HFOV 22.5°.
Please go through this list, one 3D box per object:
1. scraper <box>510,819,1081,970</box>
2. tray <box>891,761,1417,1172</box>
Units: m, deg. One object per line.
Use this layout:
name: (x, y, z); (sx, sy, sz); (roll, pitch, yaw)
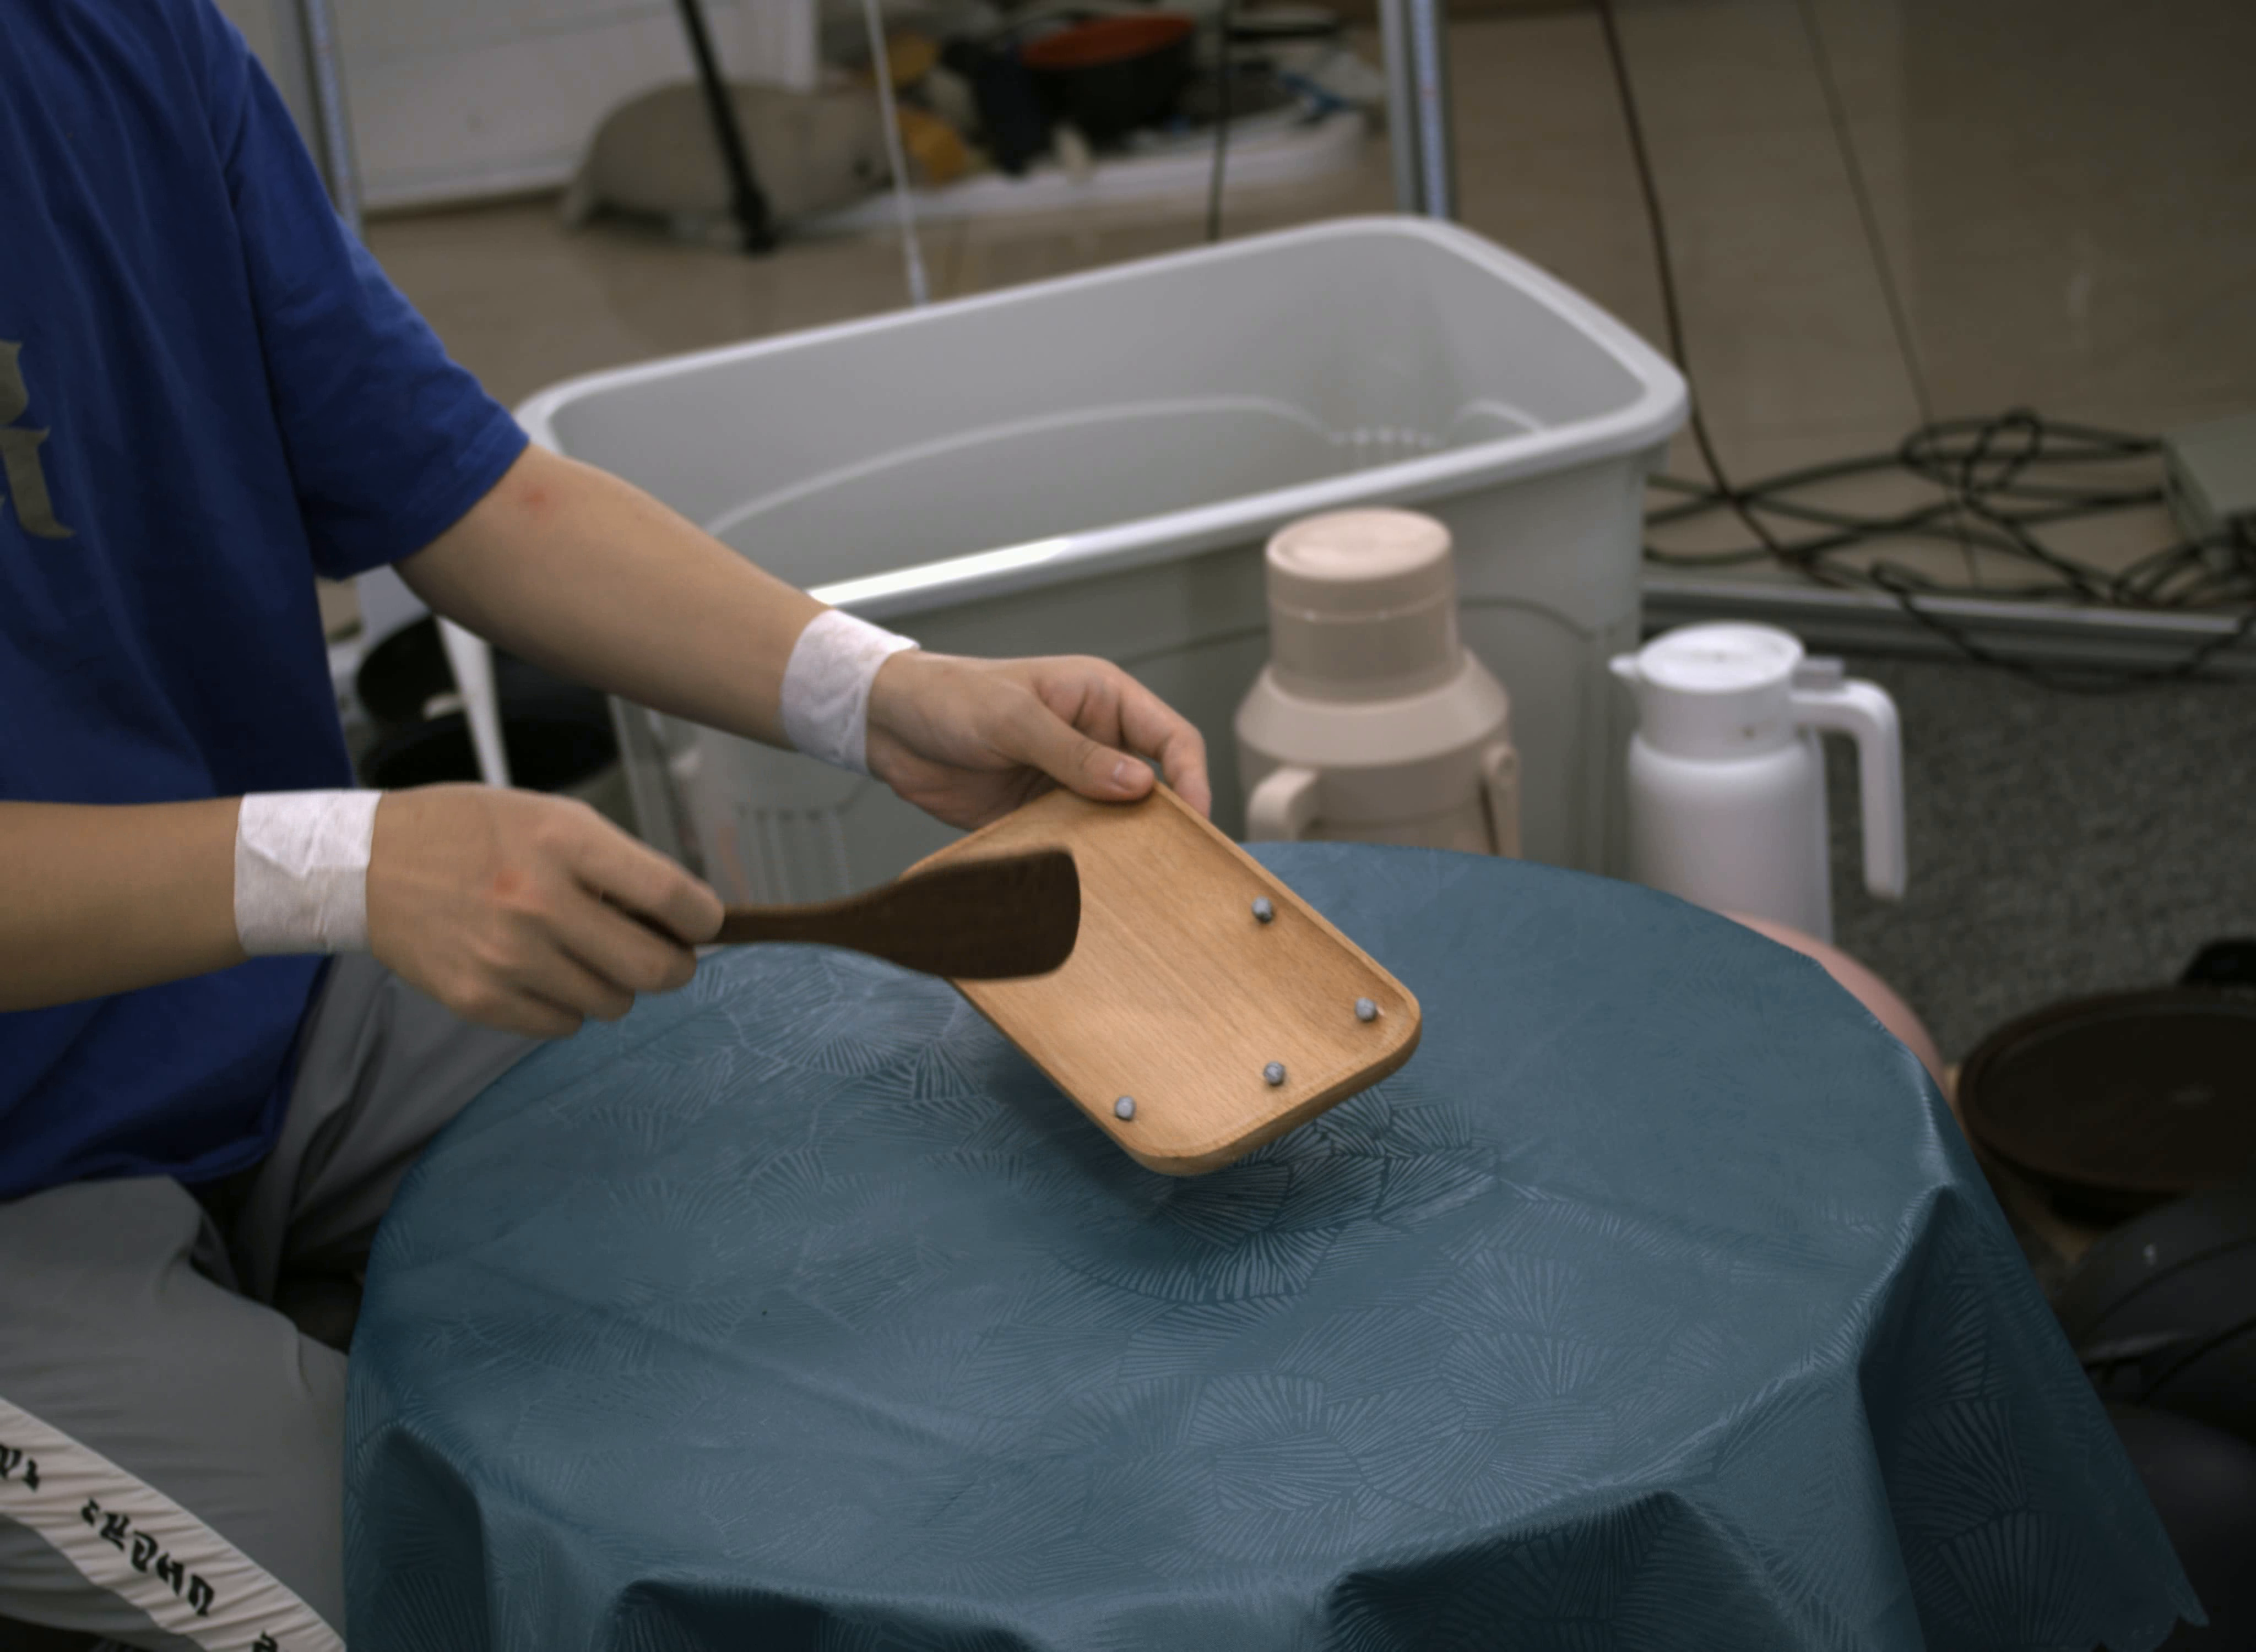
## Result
scraper: (-0.122, 0.030, 2.091); (0.211, 0.077, 0.010); (-2, 48, -2)
tray: (0.006, 0.052, 2.195); (0.130, 0.023, 0.247); (-26, 35, -17)
